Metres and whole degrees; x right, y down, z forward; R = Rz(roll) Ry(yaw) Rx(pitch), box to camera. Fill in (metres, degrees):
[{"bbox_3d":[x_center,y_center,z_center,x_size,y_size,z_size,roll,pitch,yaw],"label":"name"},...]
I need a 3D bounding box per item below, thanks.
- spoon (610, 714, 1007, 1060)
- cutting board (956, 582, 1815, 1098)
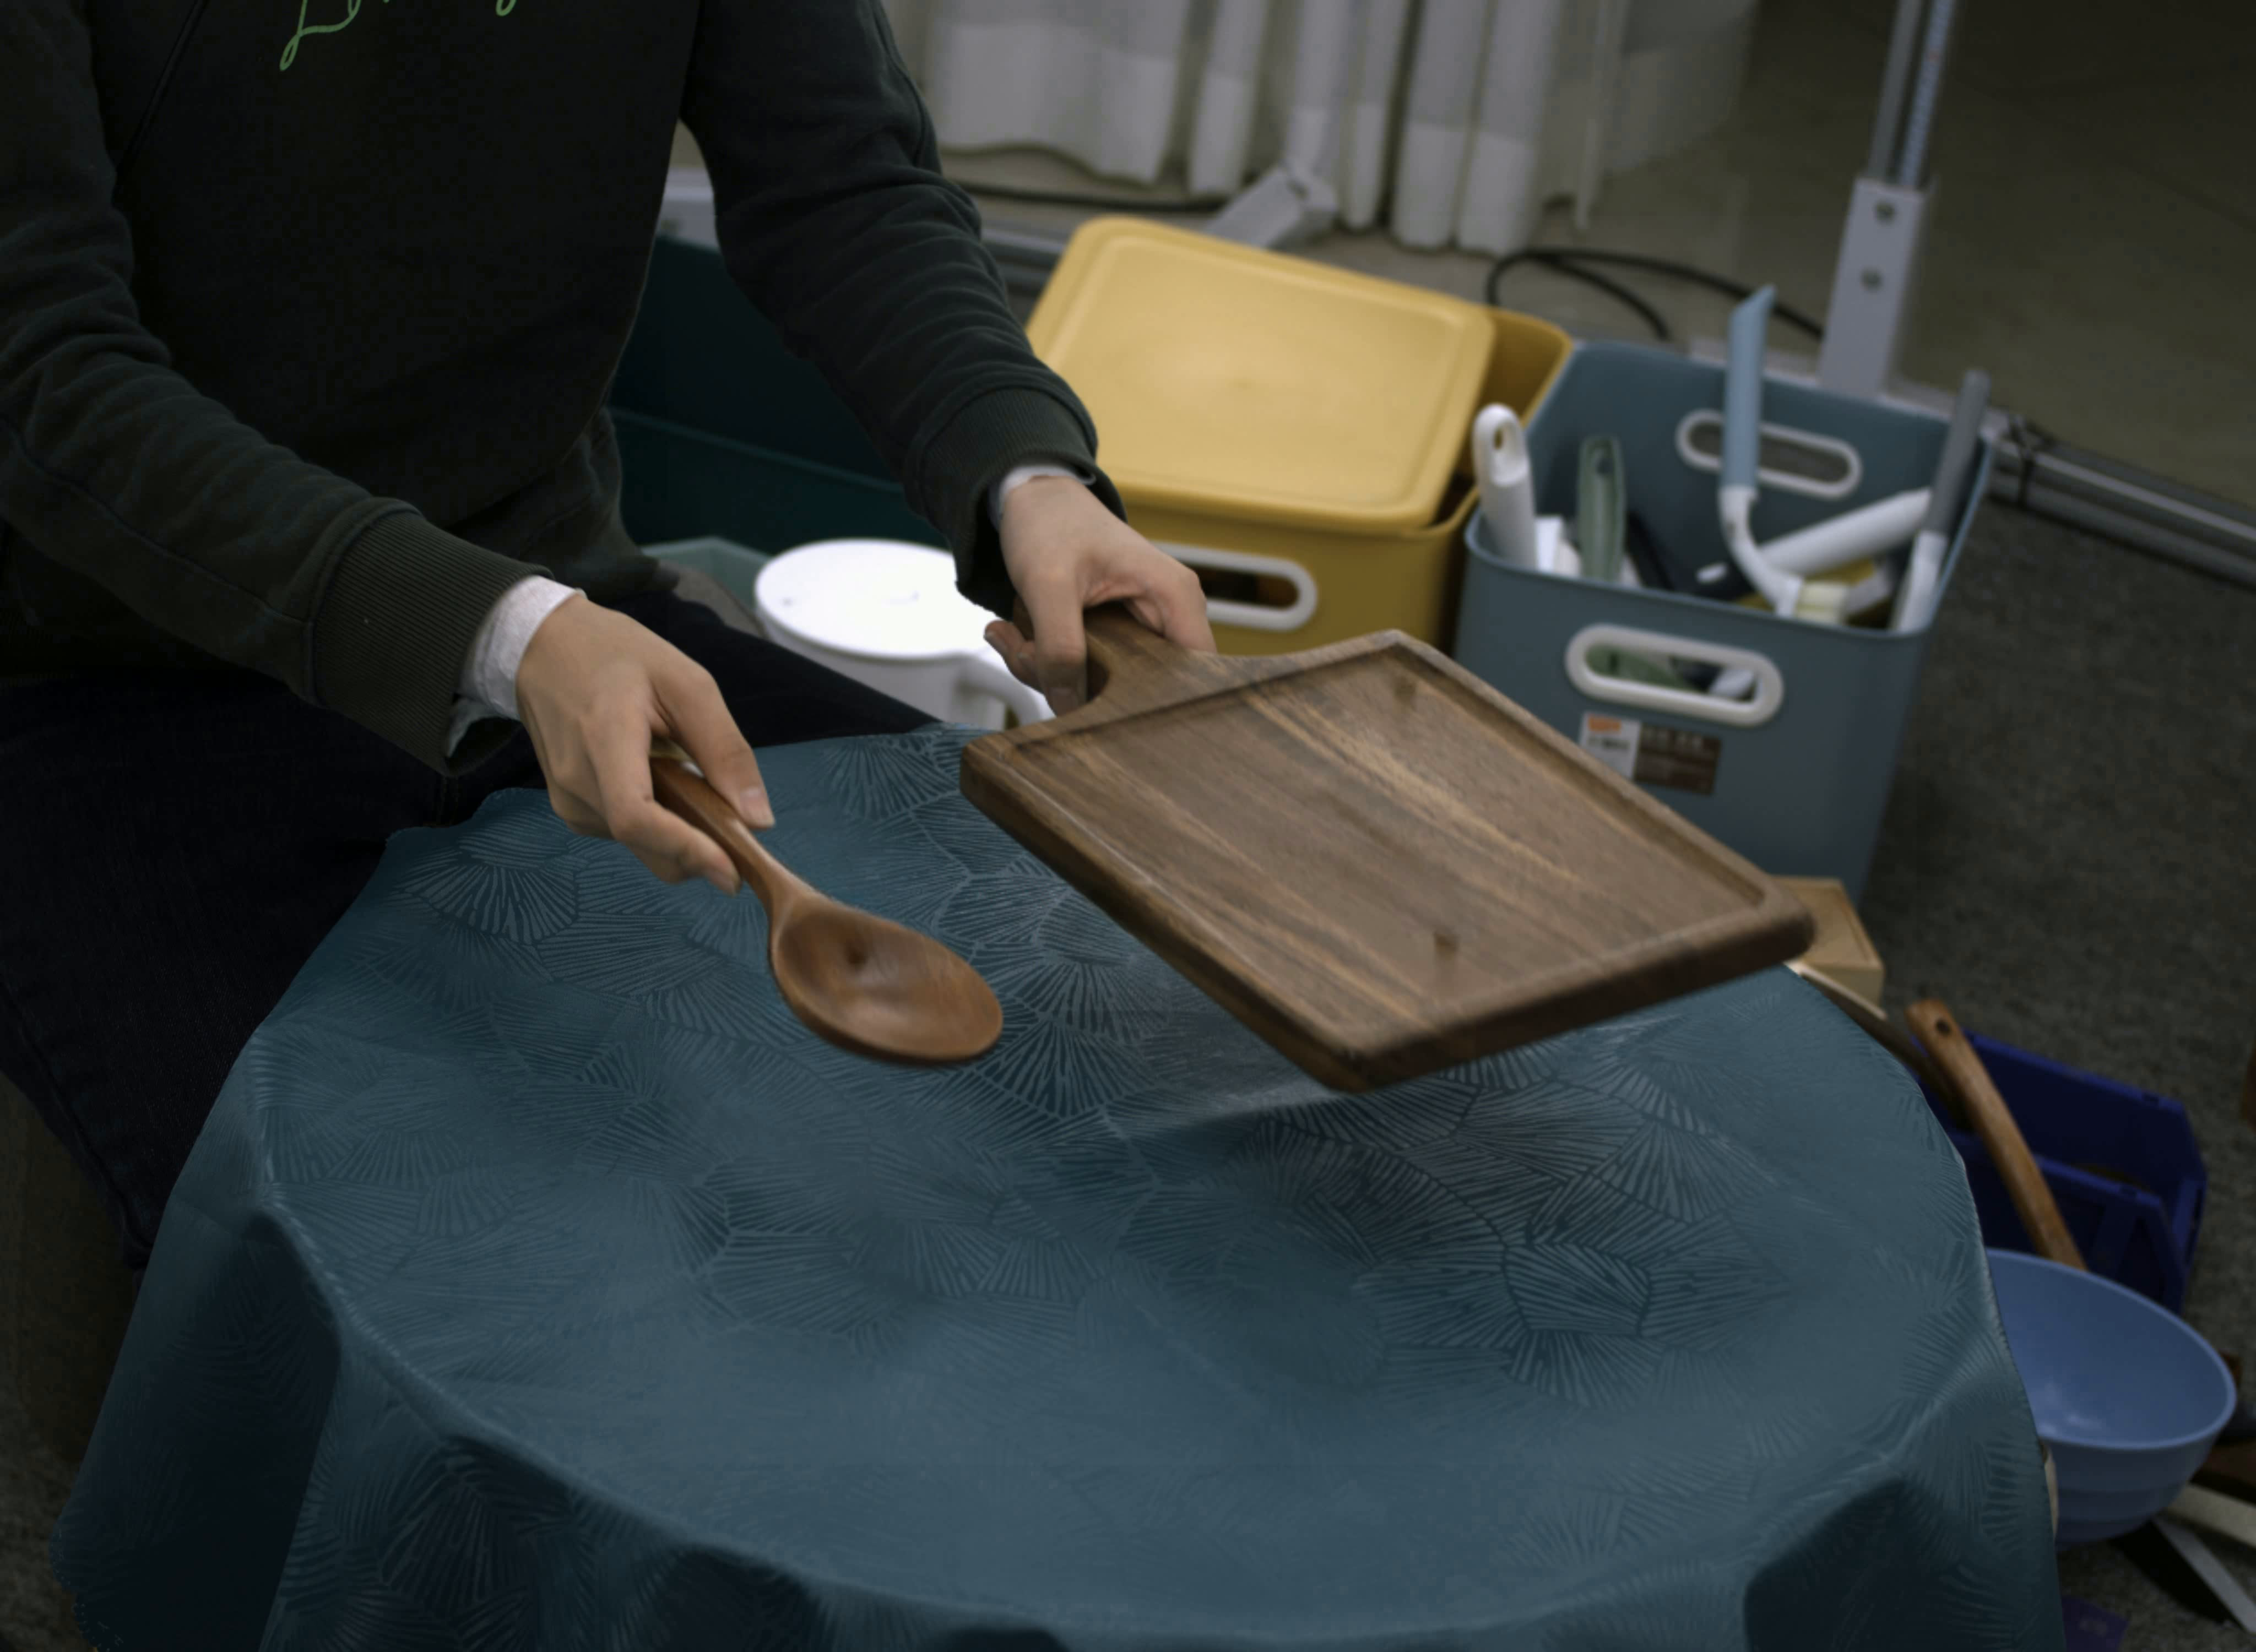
[{"bbox_3d":[-0.115,0.021,1.787,0.075,0.017,0.218,-8,36,-34],"label":"spoon"},{"bbox_3d":[0.059,-0.013,1.877,0.200,0.023,0.355,-17,32,-27],"label":"cutting board"}]
